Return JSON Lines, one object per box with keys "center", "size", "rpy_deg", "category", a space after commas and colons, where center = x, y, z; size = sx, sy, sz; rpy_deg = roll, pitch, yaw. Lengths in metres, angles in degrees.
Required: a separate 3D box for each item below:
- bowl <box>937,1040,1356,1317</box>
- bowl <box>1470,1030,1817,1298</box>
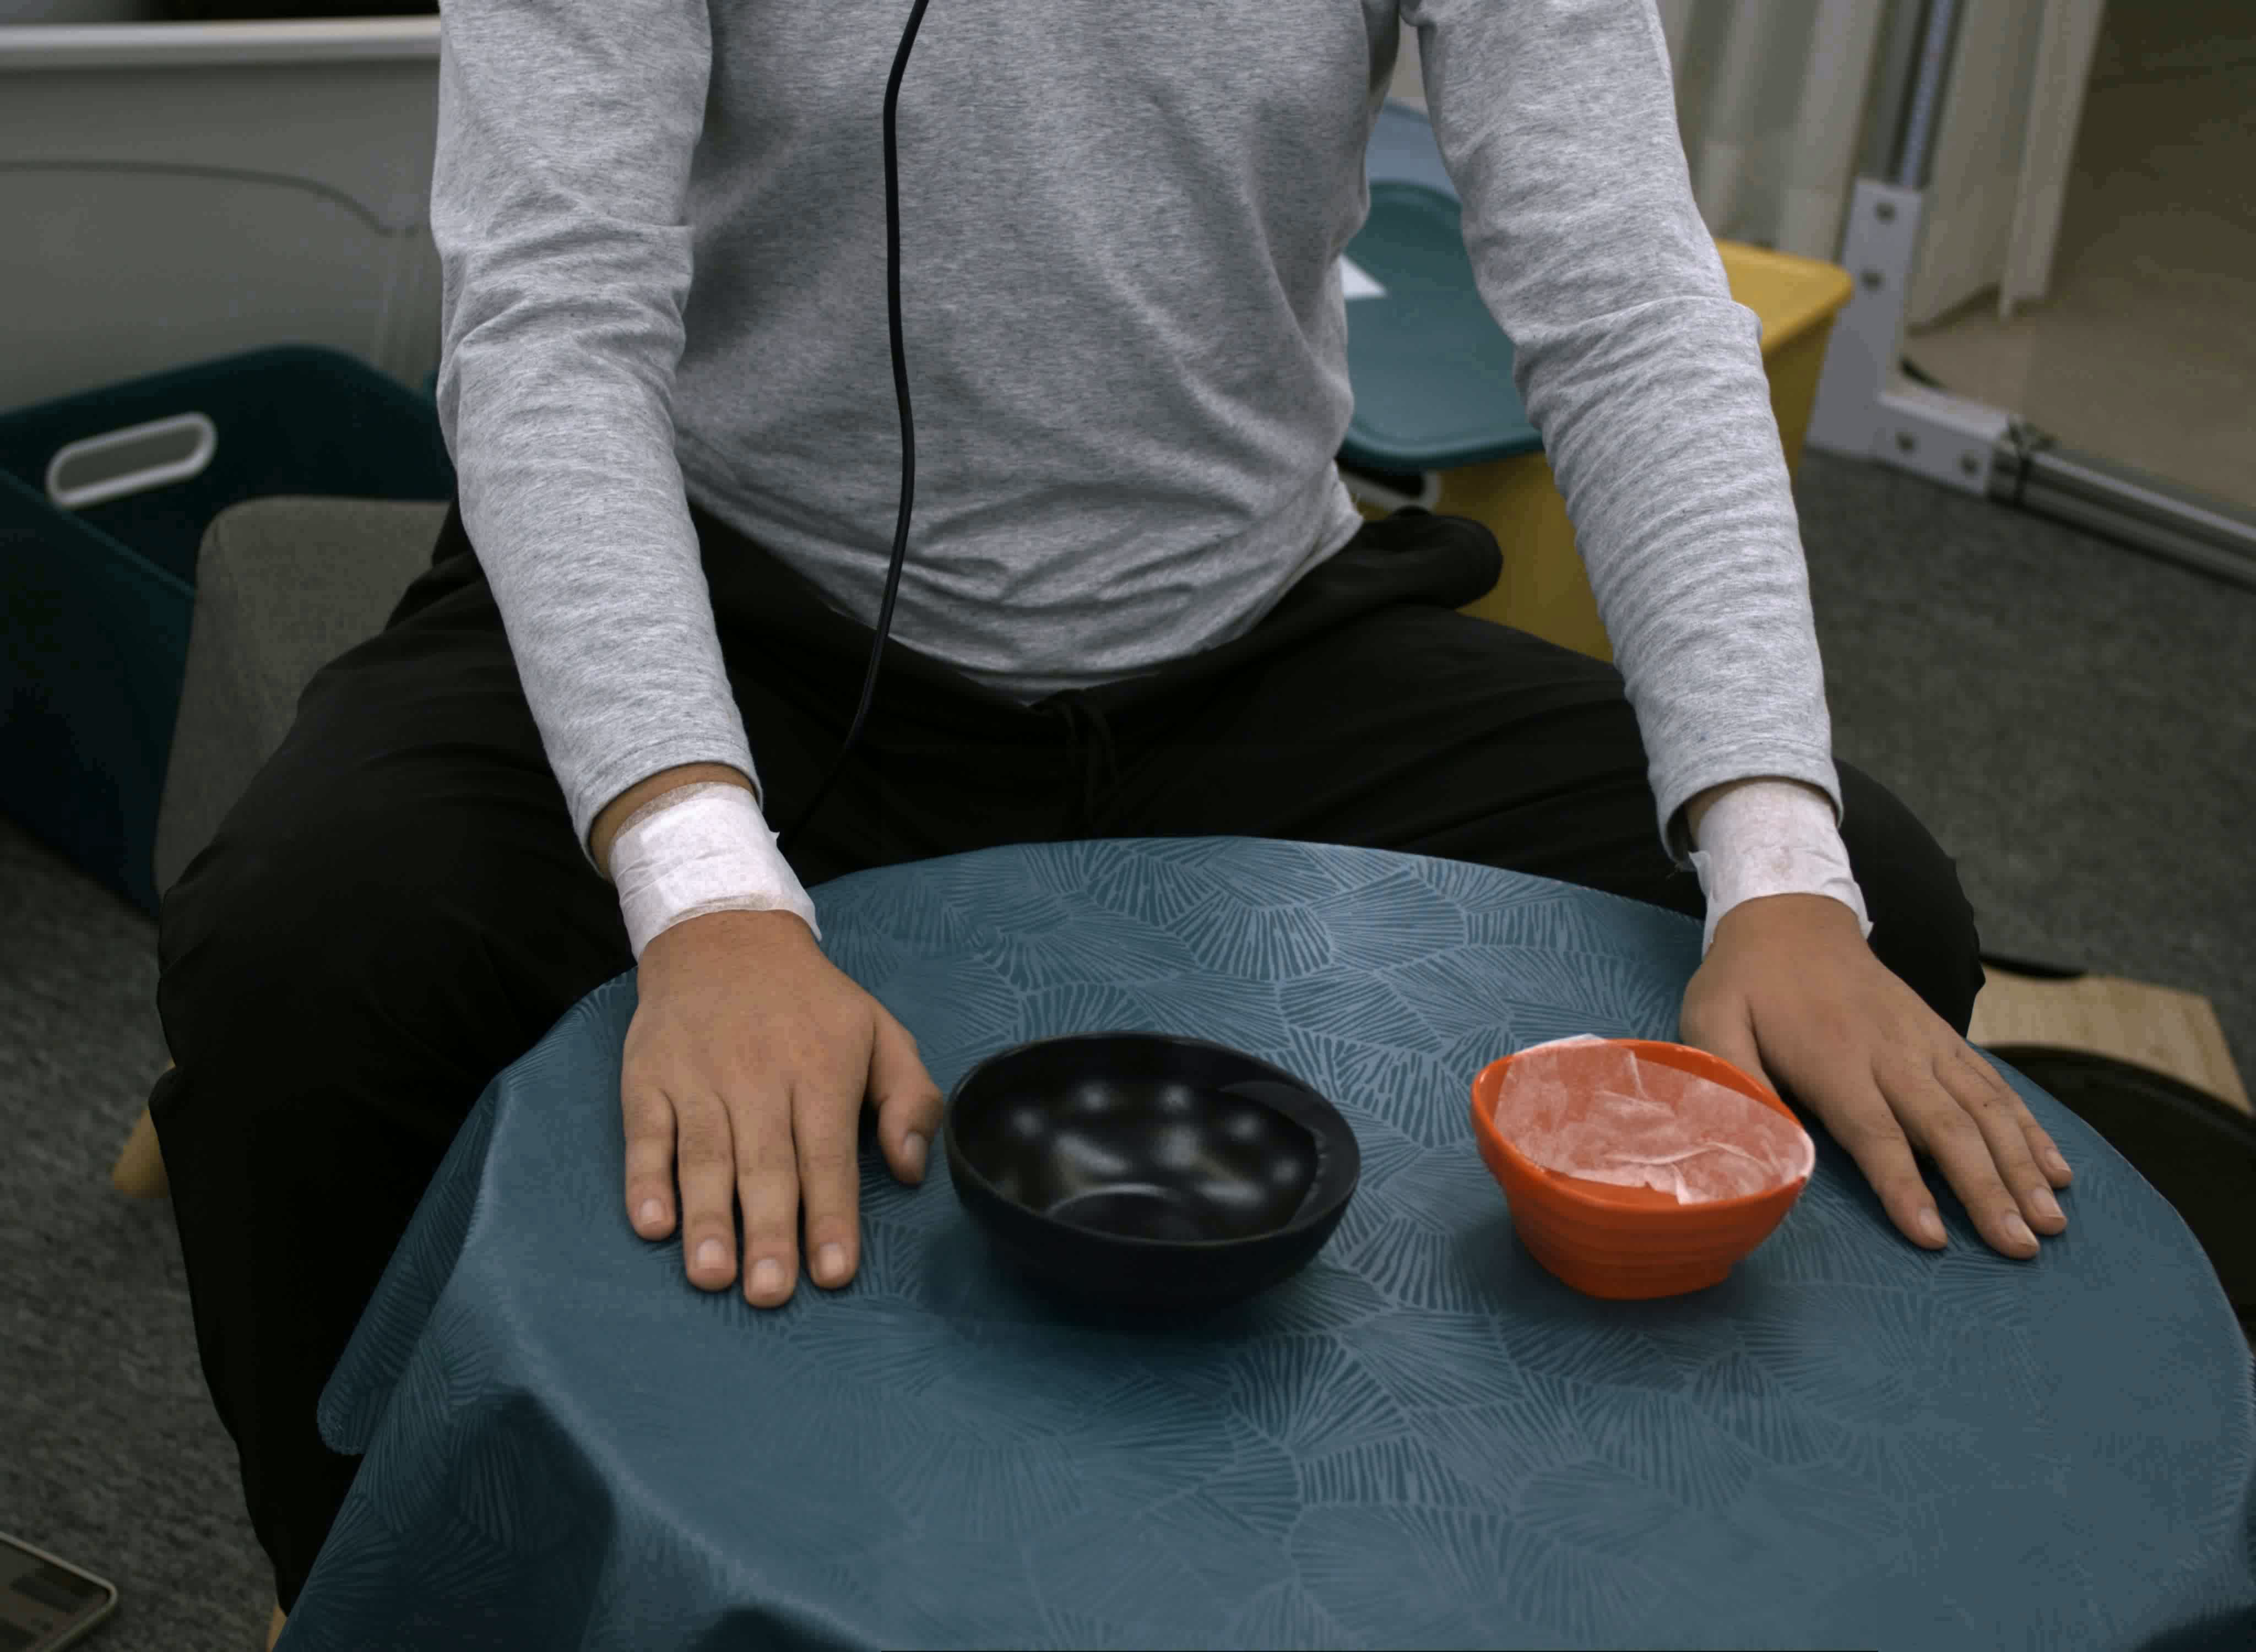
{"center": [0.004, 0.123, 1.756], "size": [0.139, 0.049, 0.141], "rpy_deg": [5, 24, -3], "category": "bowl"}
{"center": [0.170, 0.119, 1.795], "size": [0.118, 0.051, 0.119], "rpy_deg": [5, 29, -3], "category": "bowl"}
